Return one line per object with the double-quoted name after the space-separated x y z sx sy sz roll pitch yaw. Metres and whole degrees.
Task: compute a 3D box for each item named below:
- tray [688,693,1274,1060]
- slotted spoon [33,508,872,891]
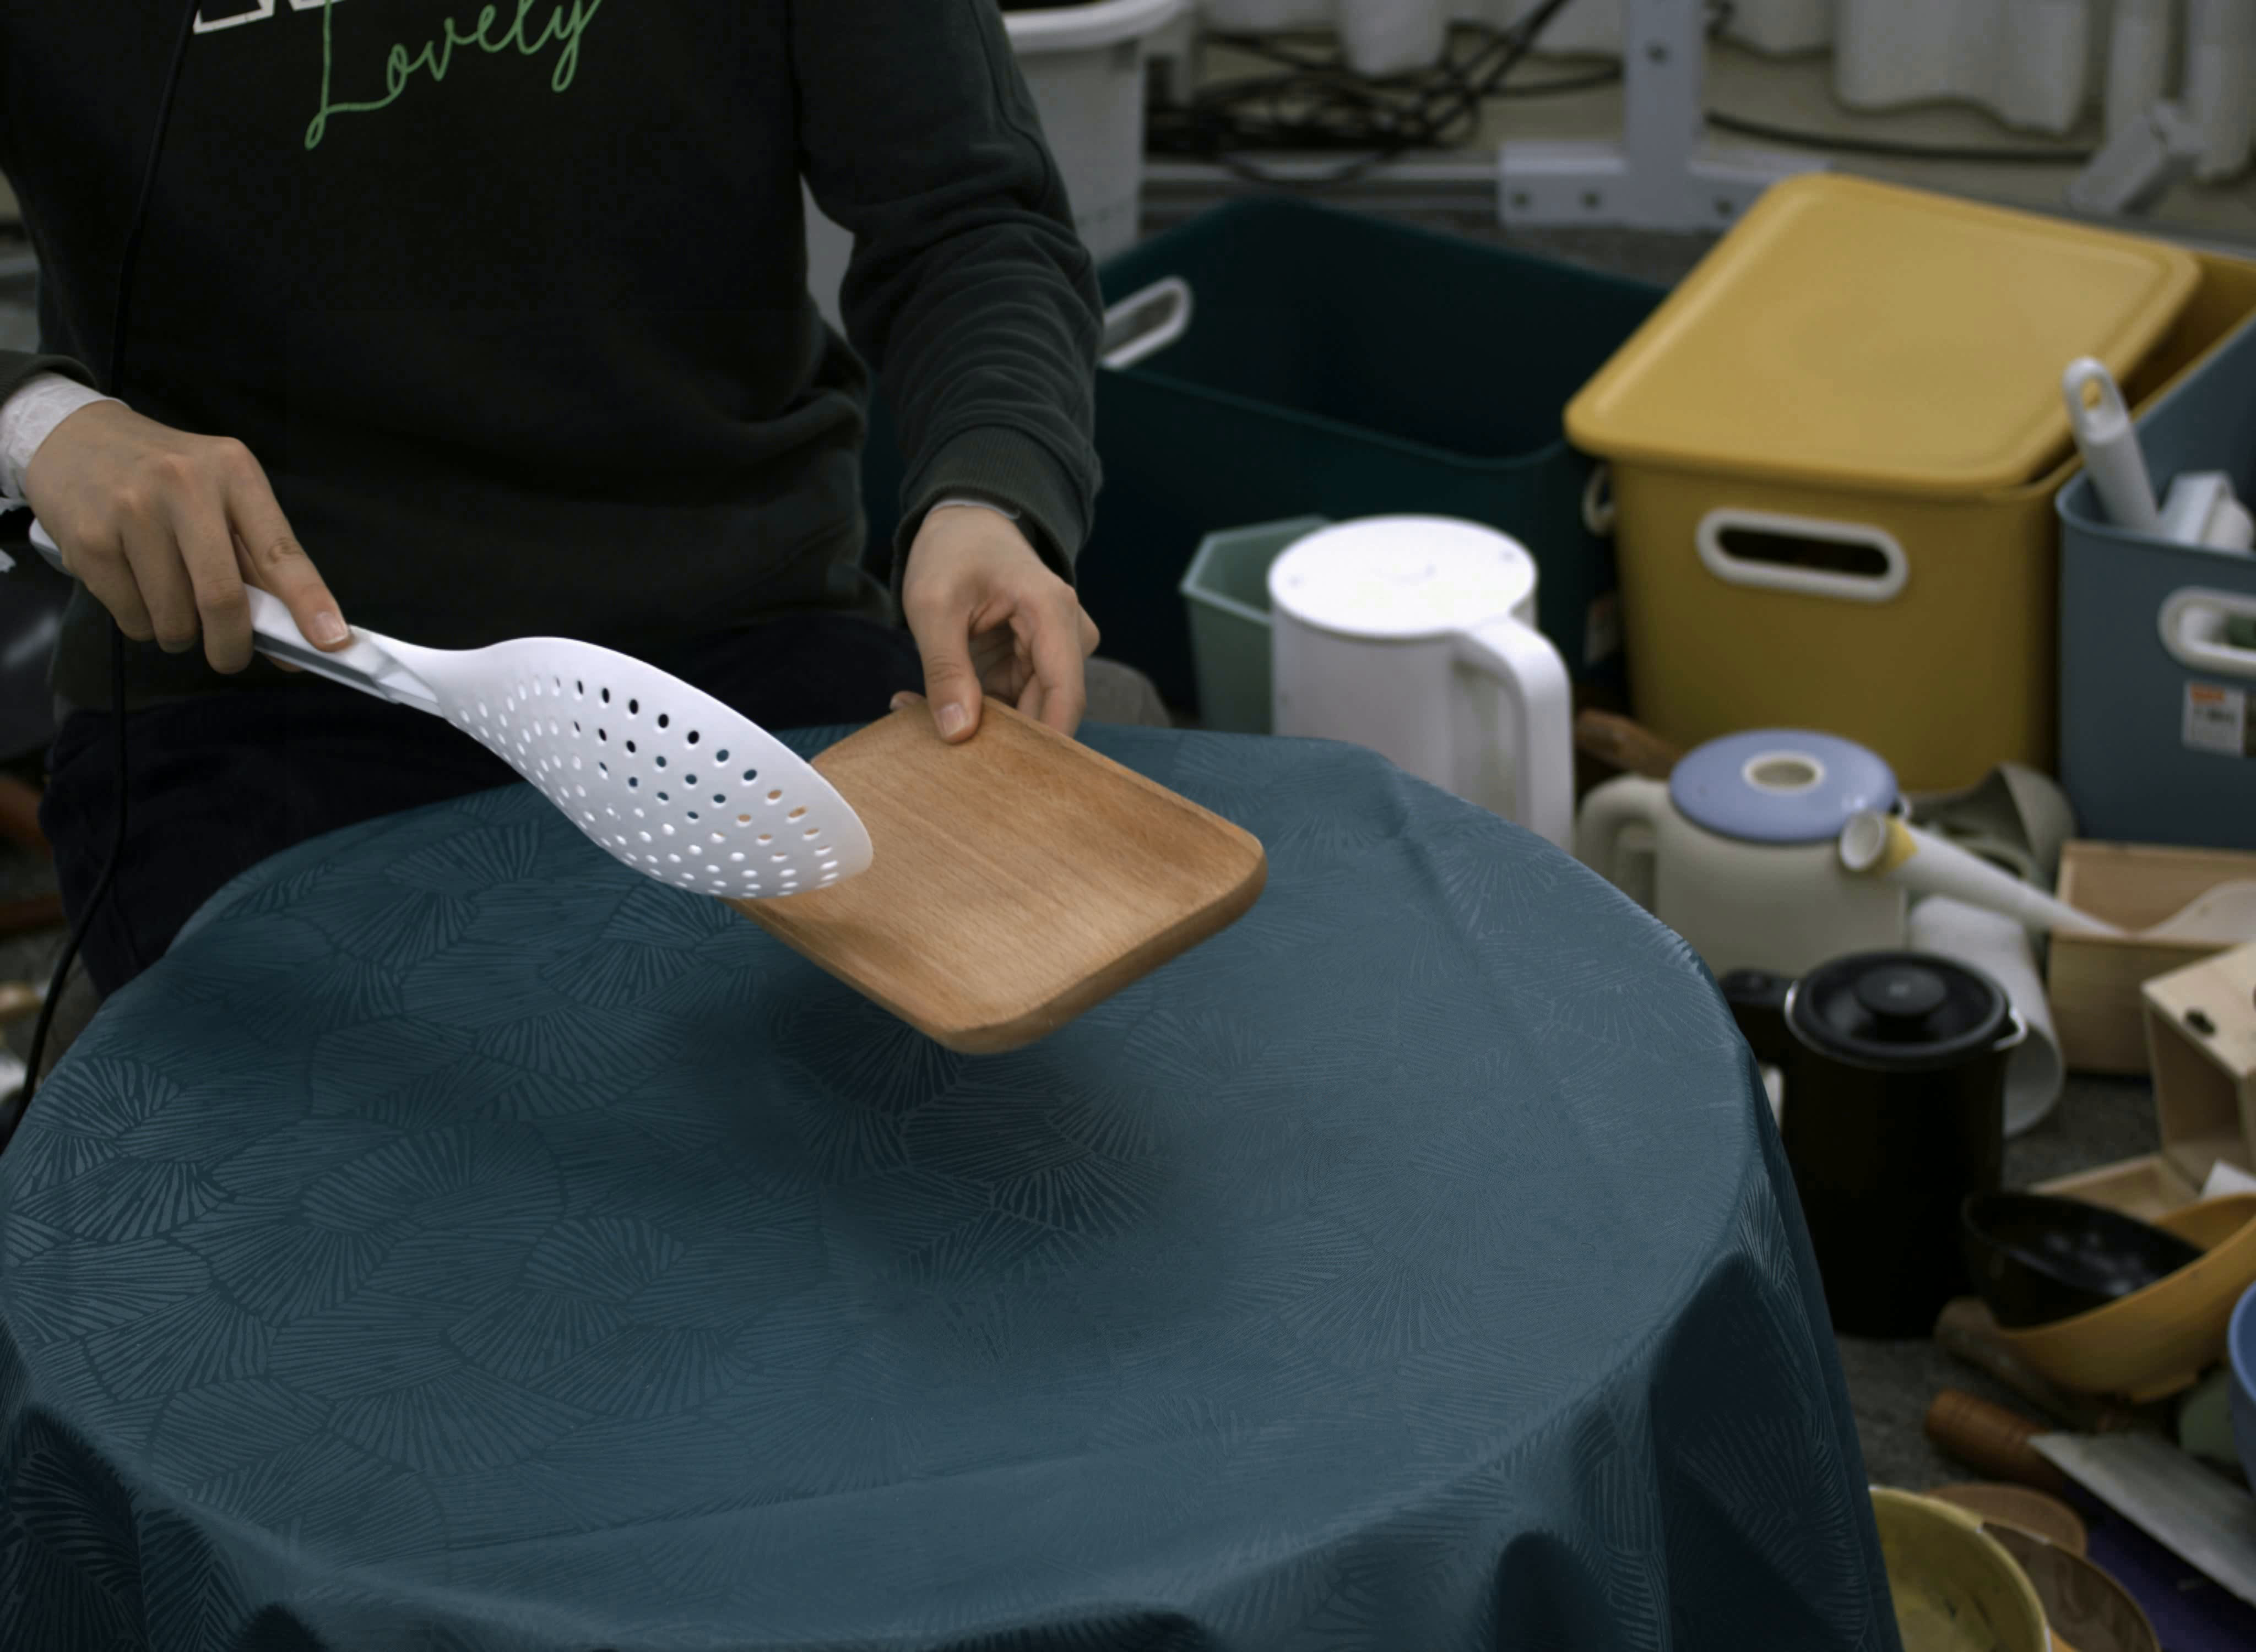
-0.052 0.015 1.890 0.131 0.023 0.251 -28 25 -19 "tray"
-0.235 -0.050 1.891 0.349 0.134 0.046 24 69 31 "slotted spoon"
